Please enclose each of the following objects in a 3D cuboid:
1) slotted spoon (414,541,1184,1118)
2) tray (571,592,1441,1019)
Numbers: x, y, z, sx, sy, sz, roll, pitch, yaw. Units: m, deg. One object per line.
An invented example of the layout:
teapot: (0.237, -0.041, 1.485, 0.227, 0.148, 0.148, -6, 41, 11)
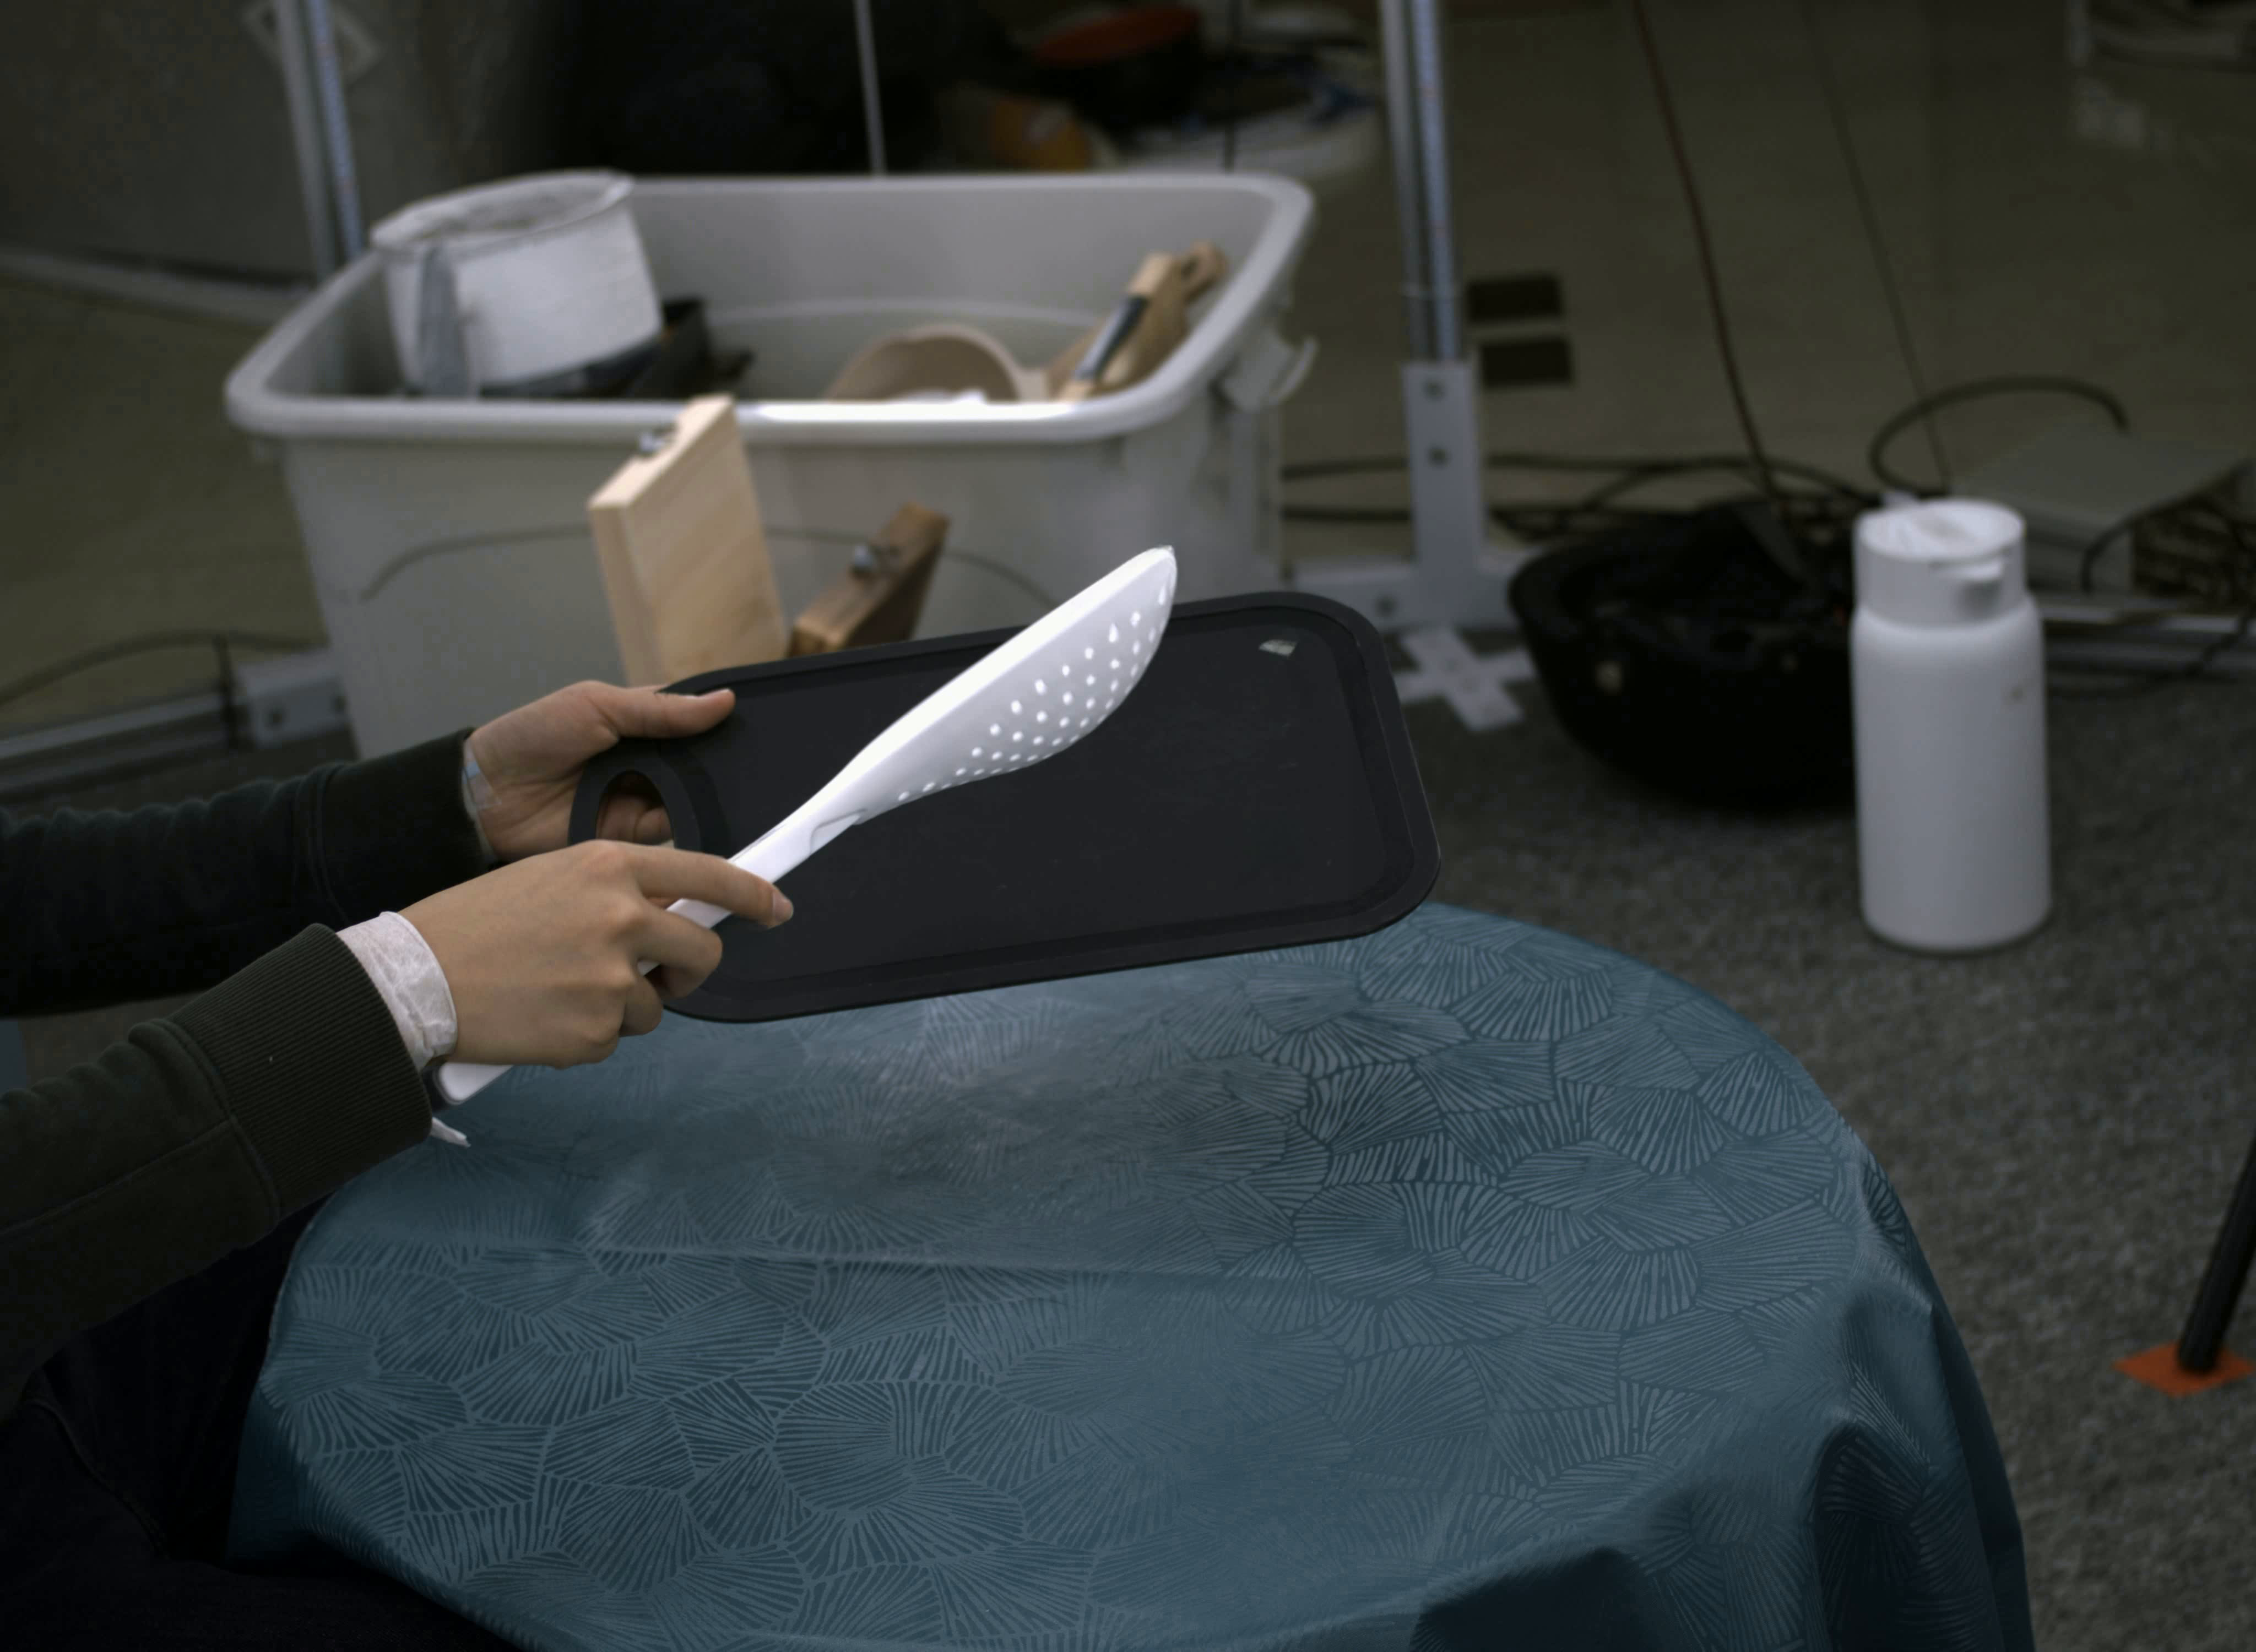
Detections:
slotted spoon: (-0.109, -0.001, 1.955, 0.347, 0.046, 0.137, -32, 4, -29)
tray: (-0.051, -0.010, 2.156, 0.325, 0.010, 0.207, -8, 41, -3)
